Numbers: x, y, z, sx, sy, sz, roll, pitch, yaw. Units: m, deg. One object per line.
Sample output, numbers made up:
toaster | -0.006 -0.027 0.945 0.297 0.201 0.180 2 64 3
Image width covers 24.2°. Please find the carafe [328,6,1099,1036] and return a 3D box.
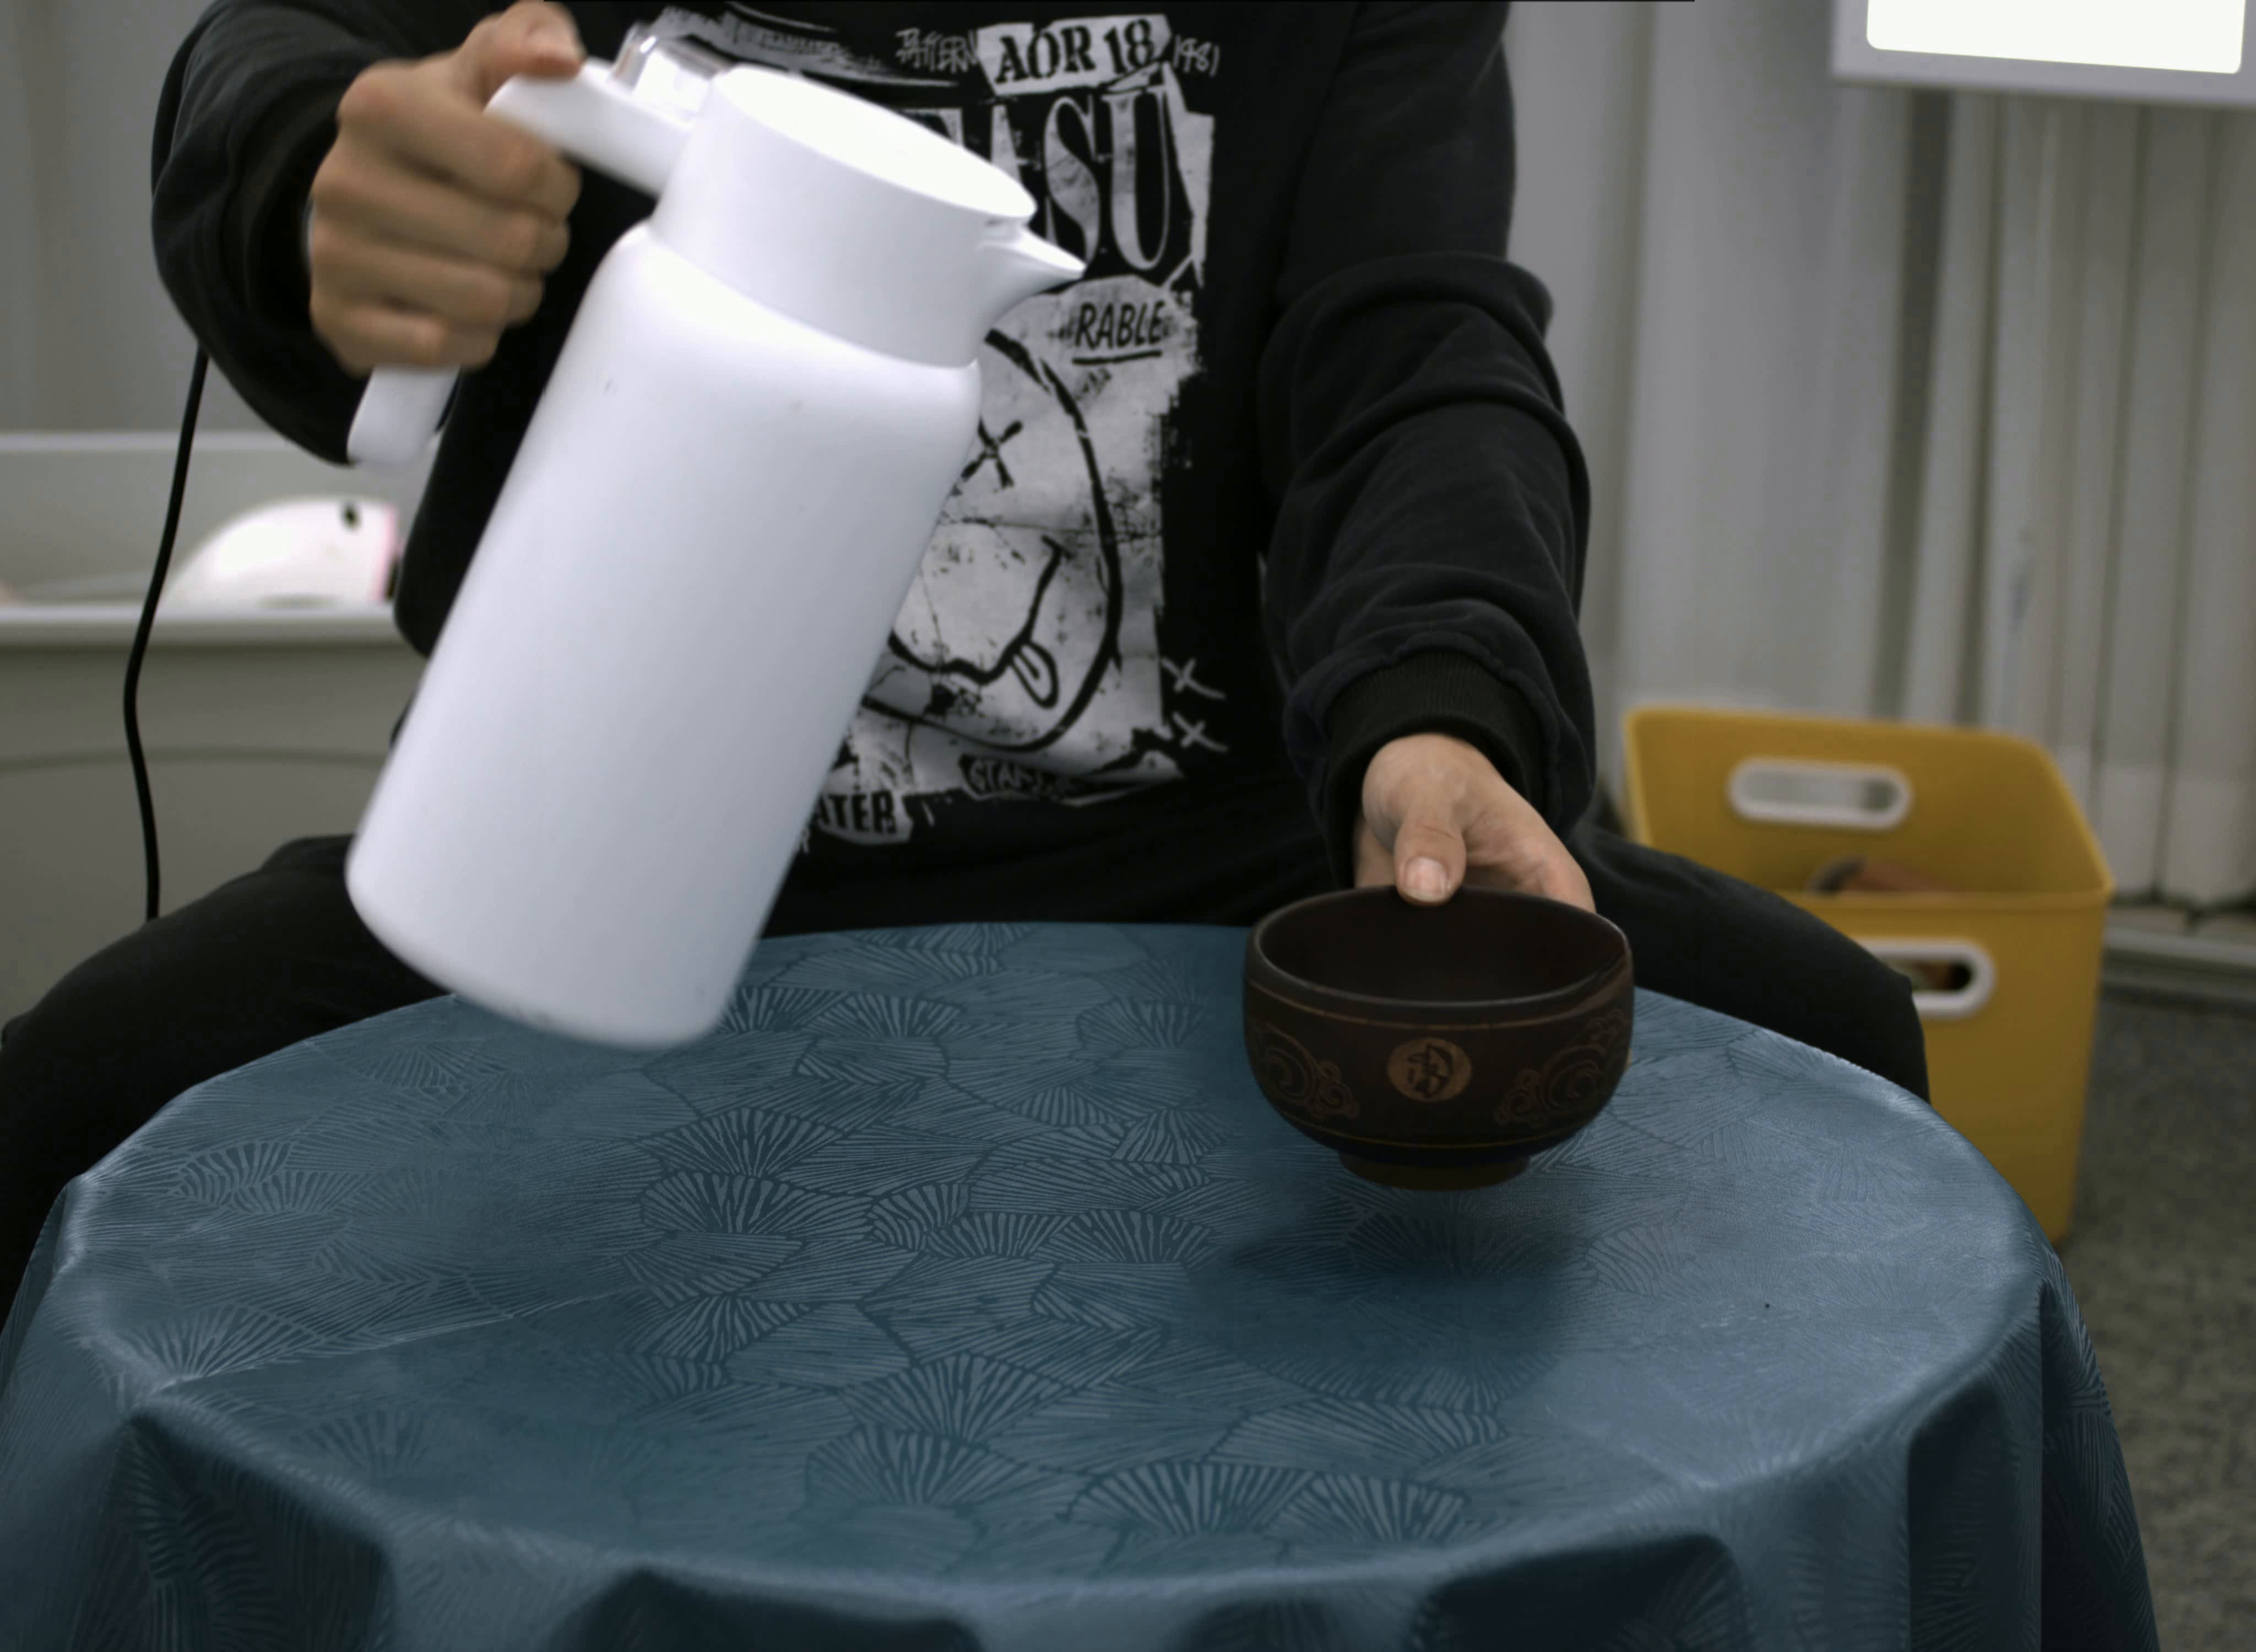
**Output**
carafe | -0.139 -0.088 1.483 0.172 0.270 0.123 26 17 -1

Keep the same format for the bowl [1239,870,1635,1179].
bowl | 0.091 0.063 1.567 0.117 0.070 0.117 0 17 0
